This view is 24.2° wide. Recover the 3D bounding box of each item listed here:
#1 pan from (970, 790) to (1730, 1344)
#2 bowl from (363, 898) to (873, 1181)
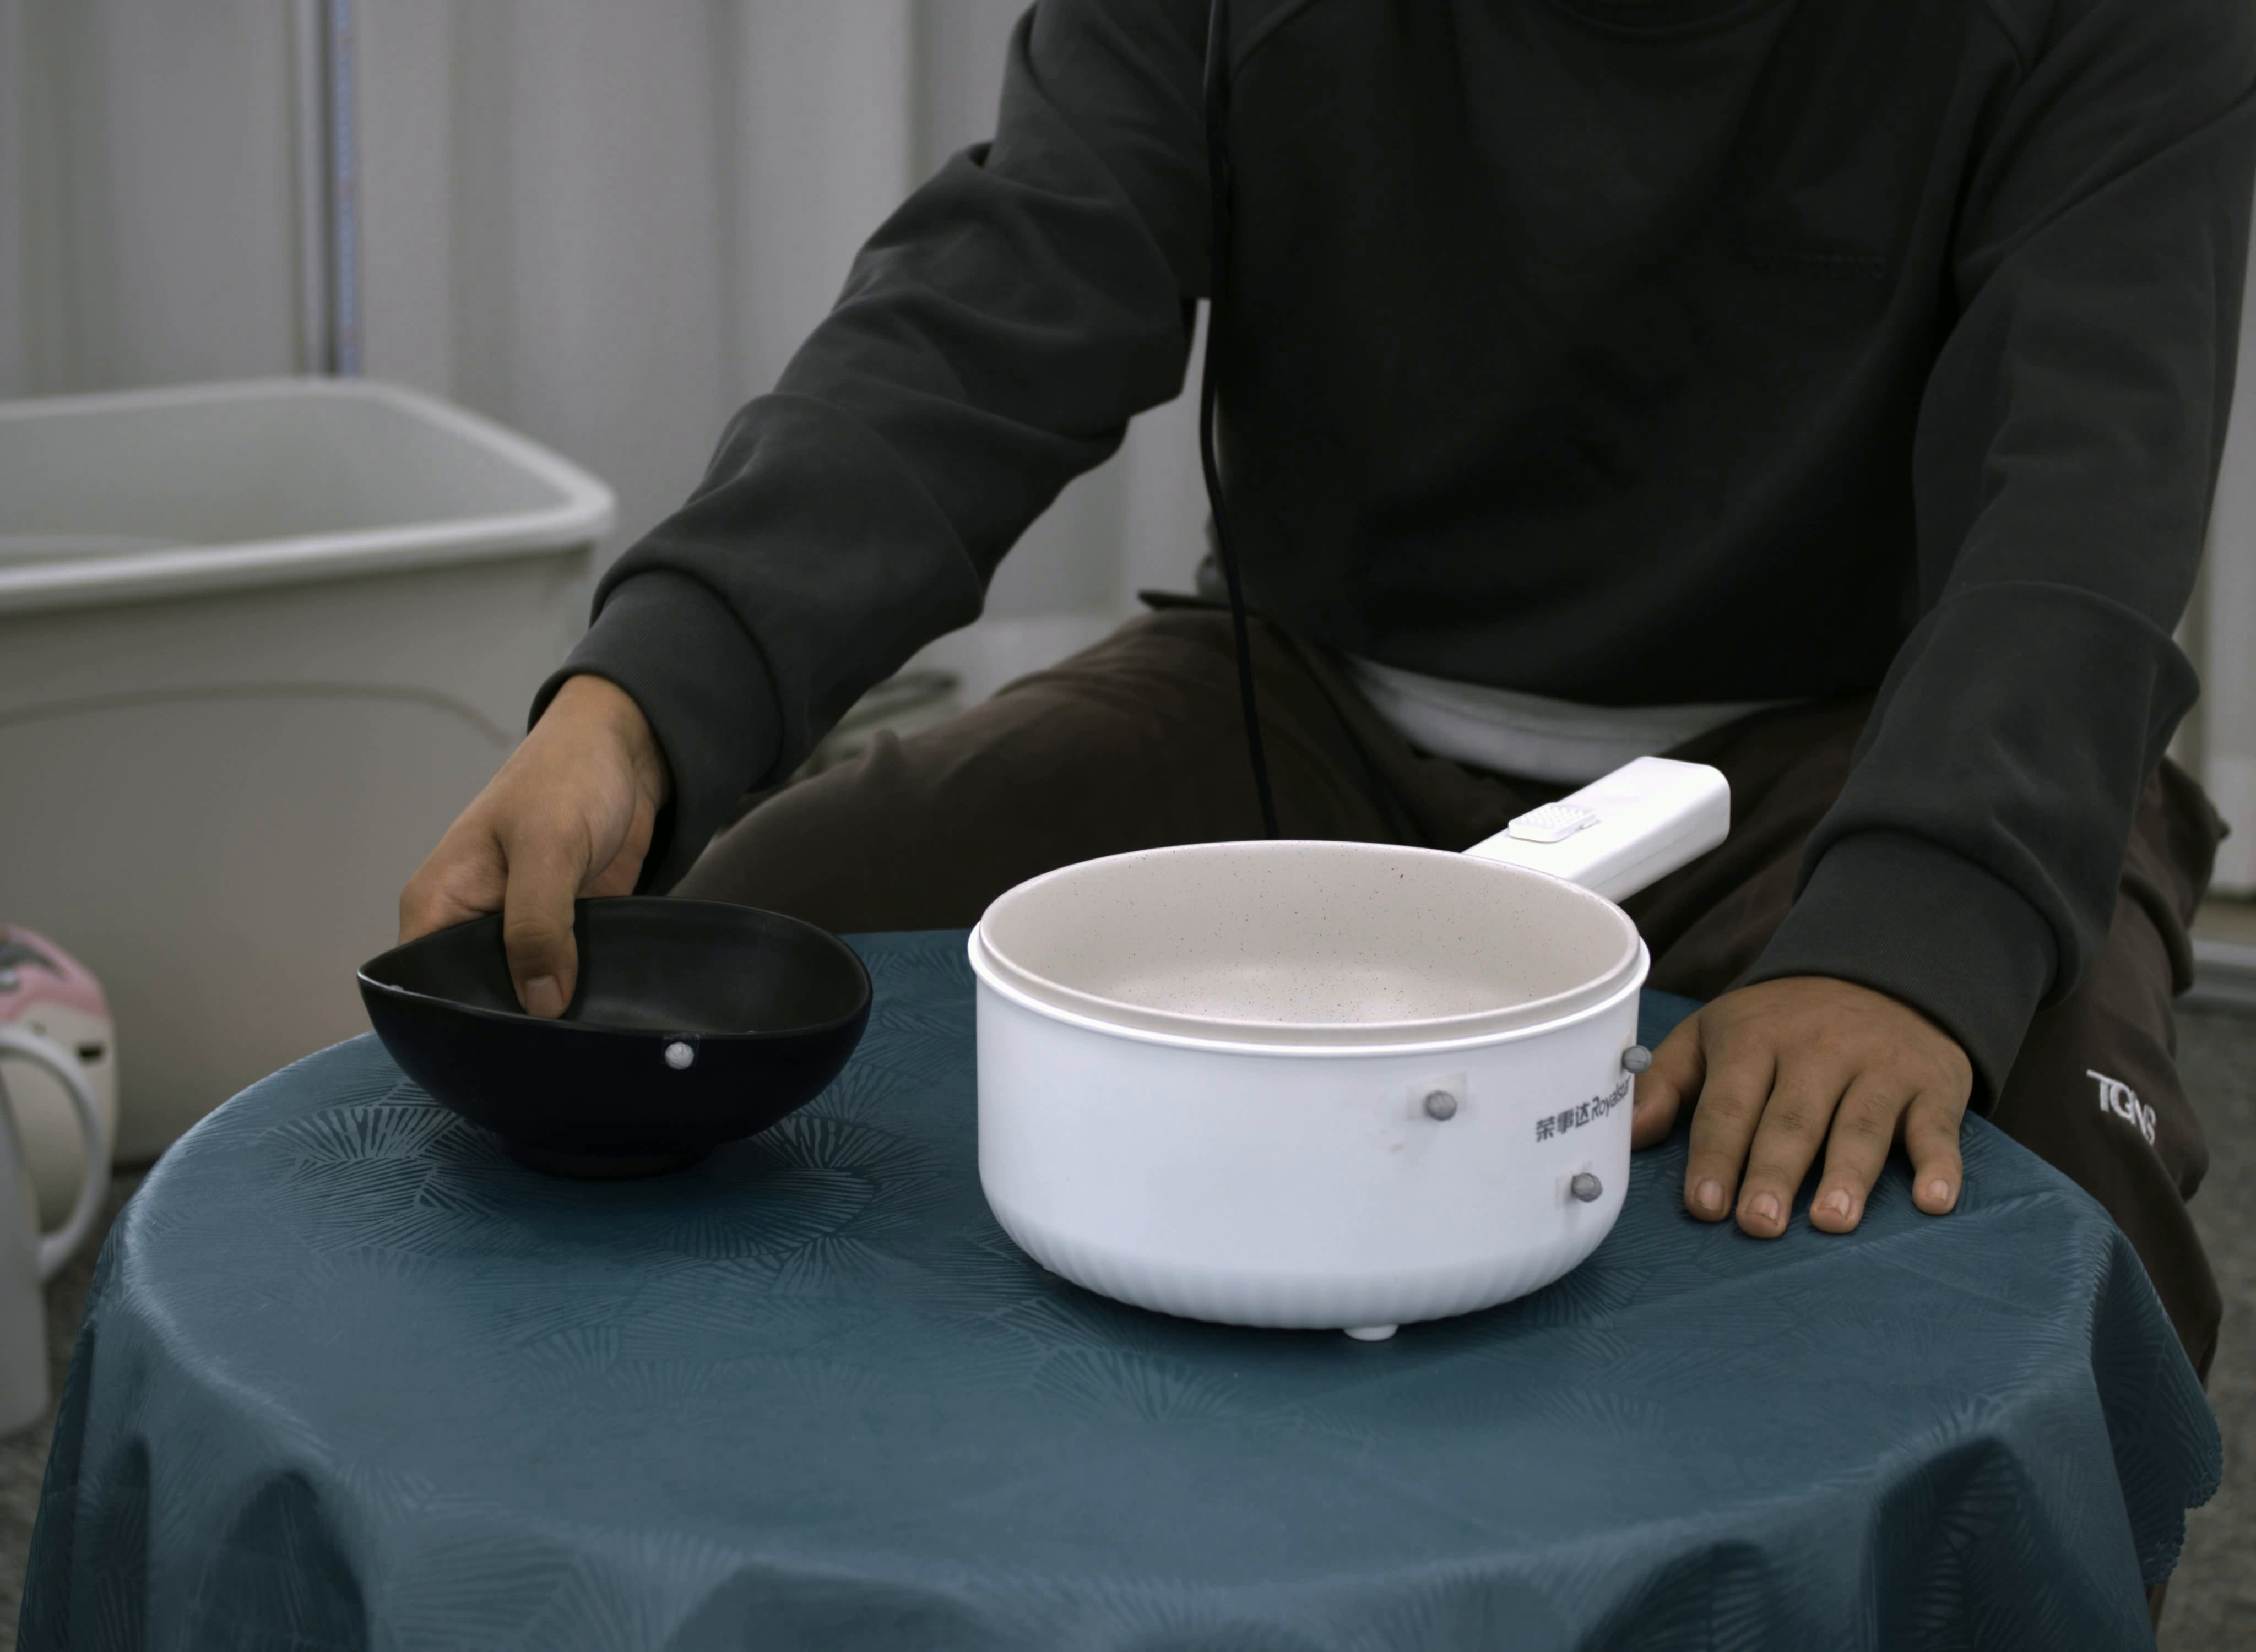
[{"bbox_3d":[0.092,0.068,1.629,0.199,0.103,0.356,7,15,30],"label":"pan"},{"bbox_3d":[-0.161,0.070,1.643,0.168,0.067,0.137,8,17,24],"label":"bowl"}]
